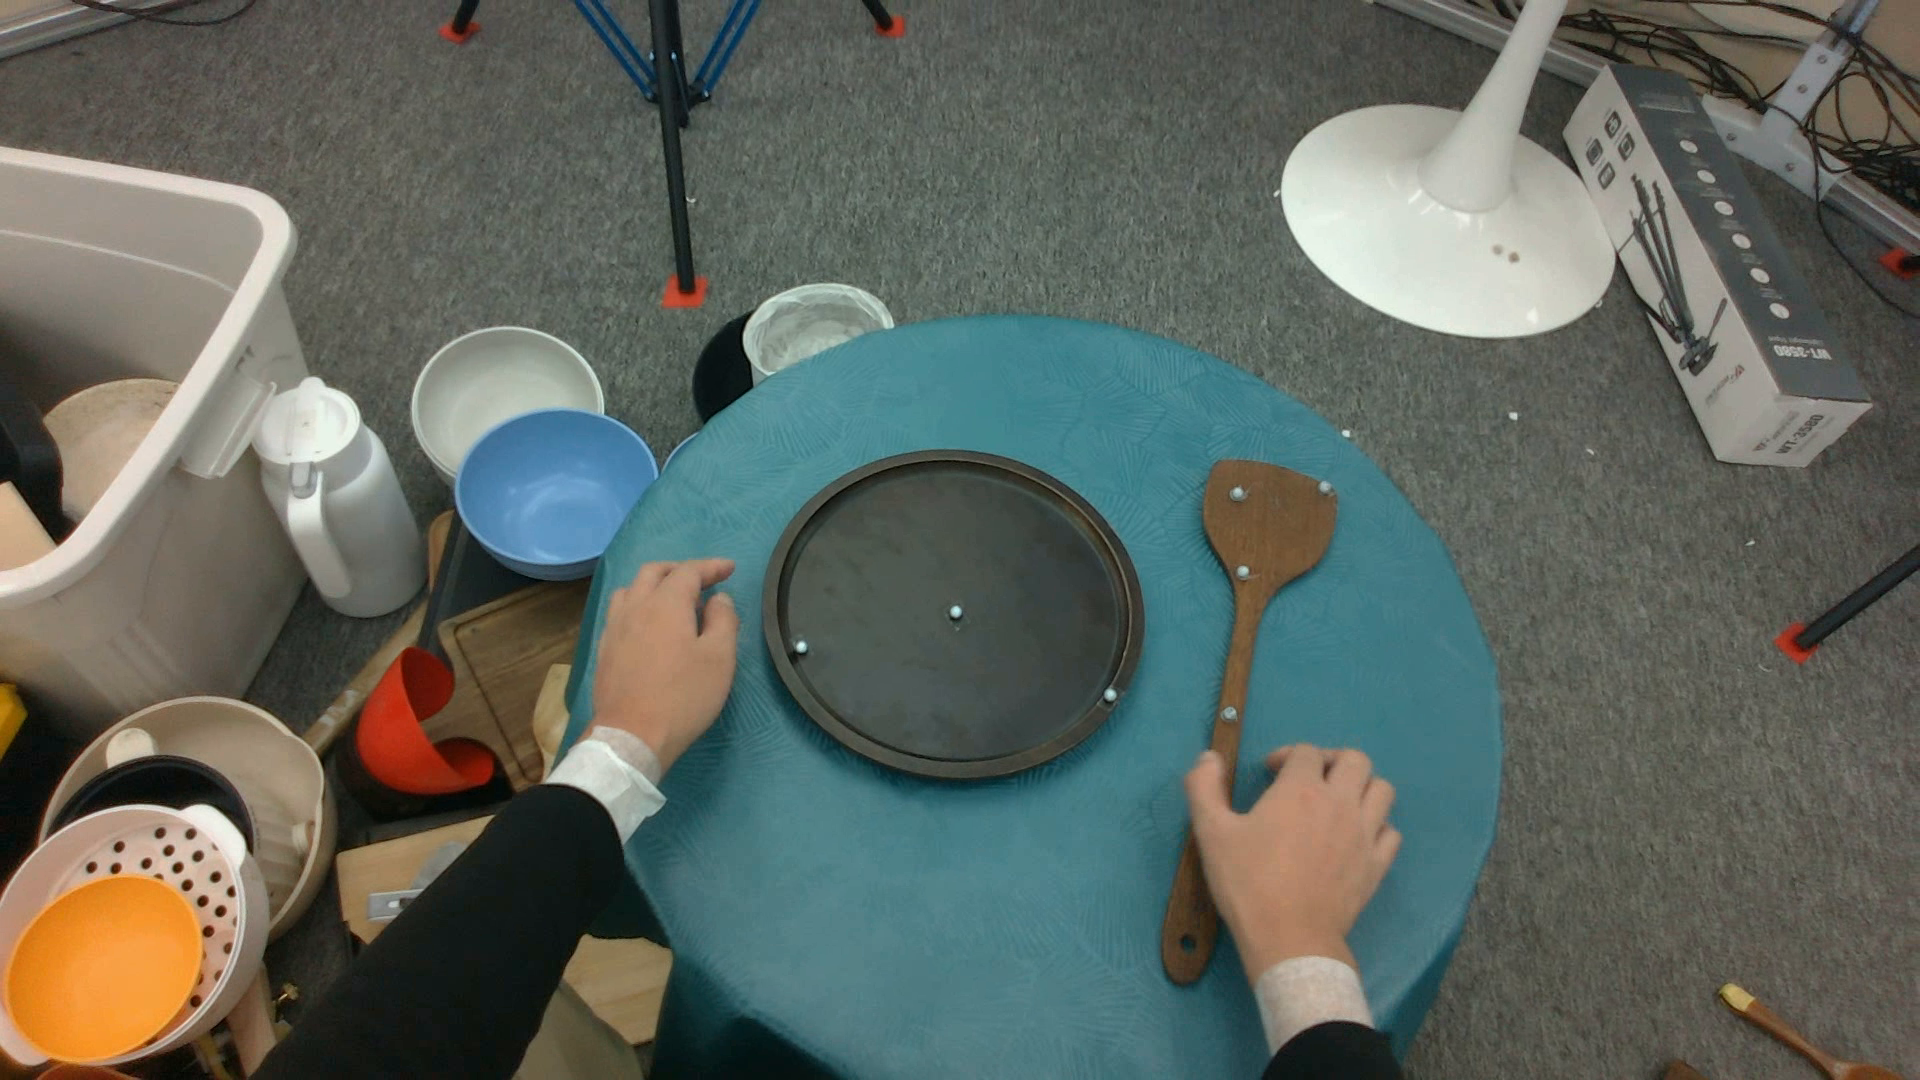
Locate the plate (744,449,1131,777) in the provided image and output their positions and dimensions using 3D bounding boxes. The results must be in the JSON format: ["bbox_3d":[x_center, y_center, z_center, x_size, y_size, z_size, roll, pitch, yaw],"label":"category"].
[{"bbox_3d":[-0.015,0.042,0.905,0.255,0.029,0.256,4,54,-6],"label":"plate"}]

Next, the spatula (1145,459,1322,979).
[{"bbox_3d":[0.168,0.097,0.893,0.096,0.016,0.388,16,55,5],"label":"spatula"}]
